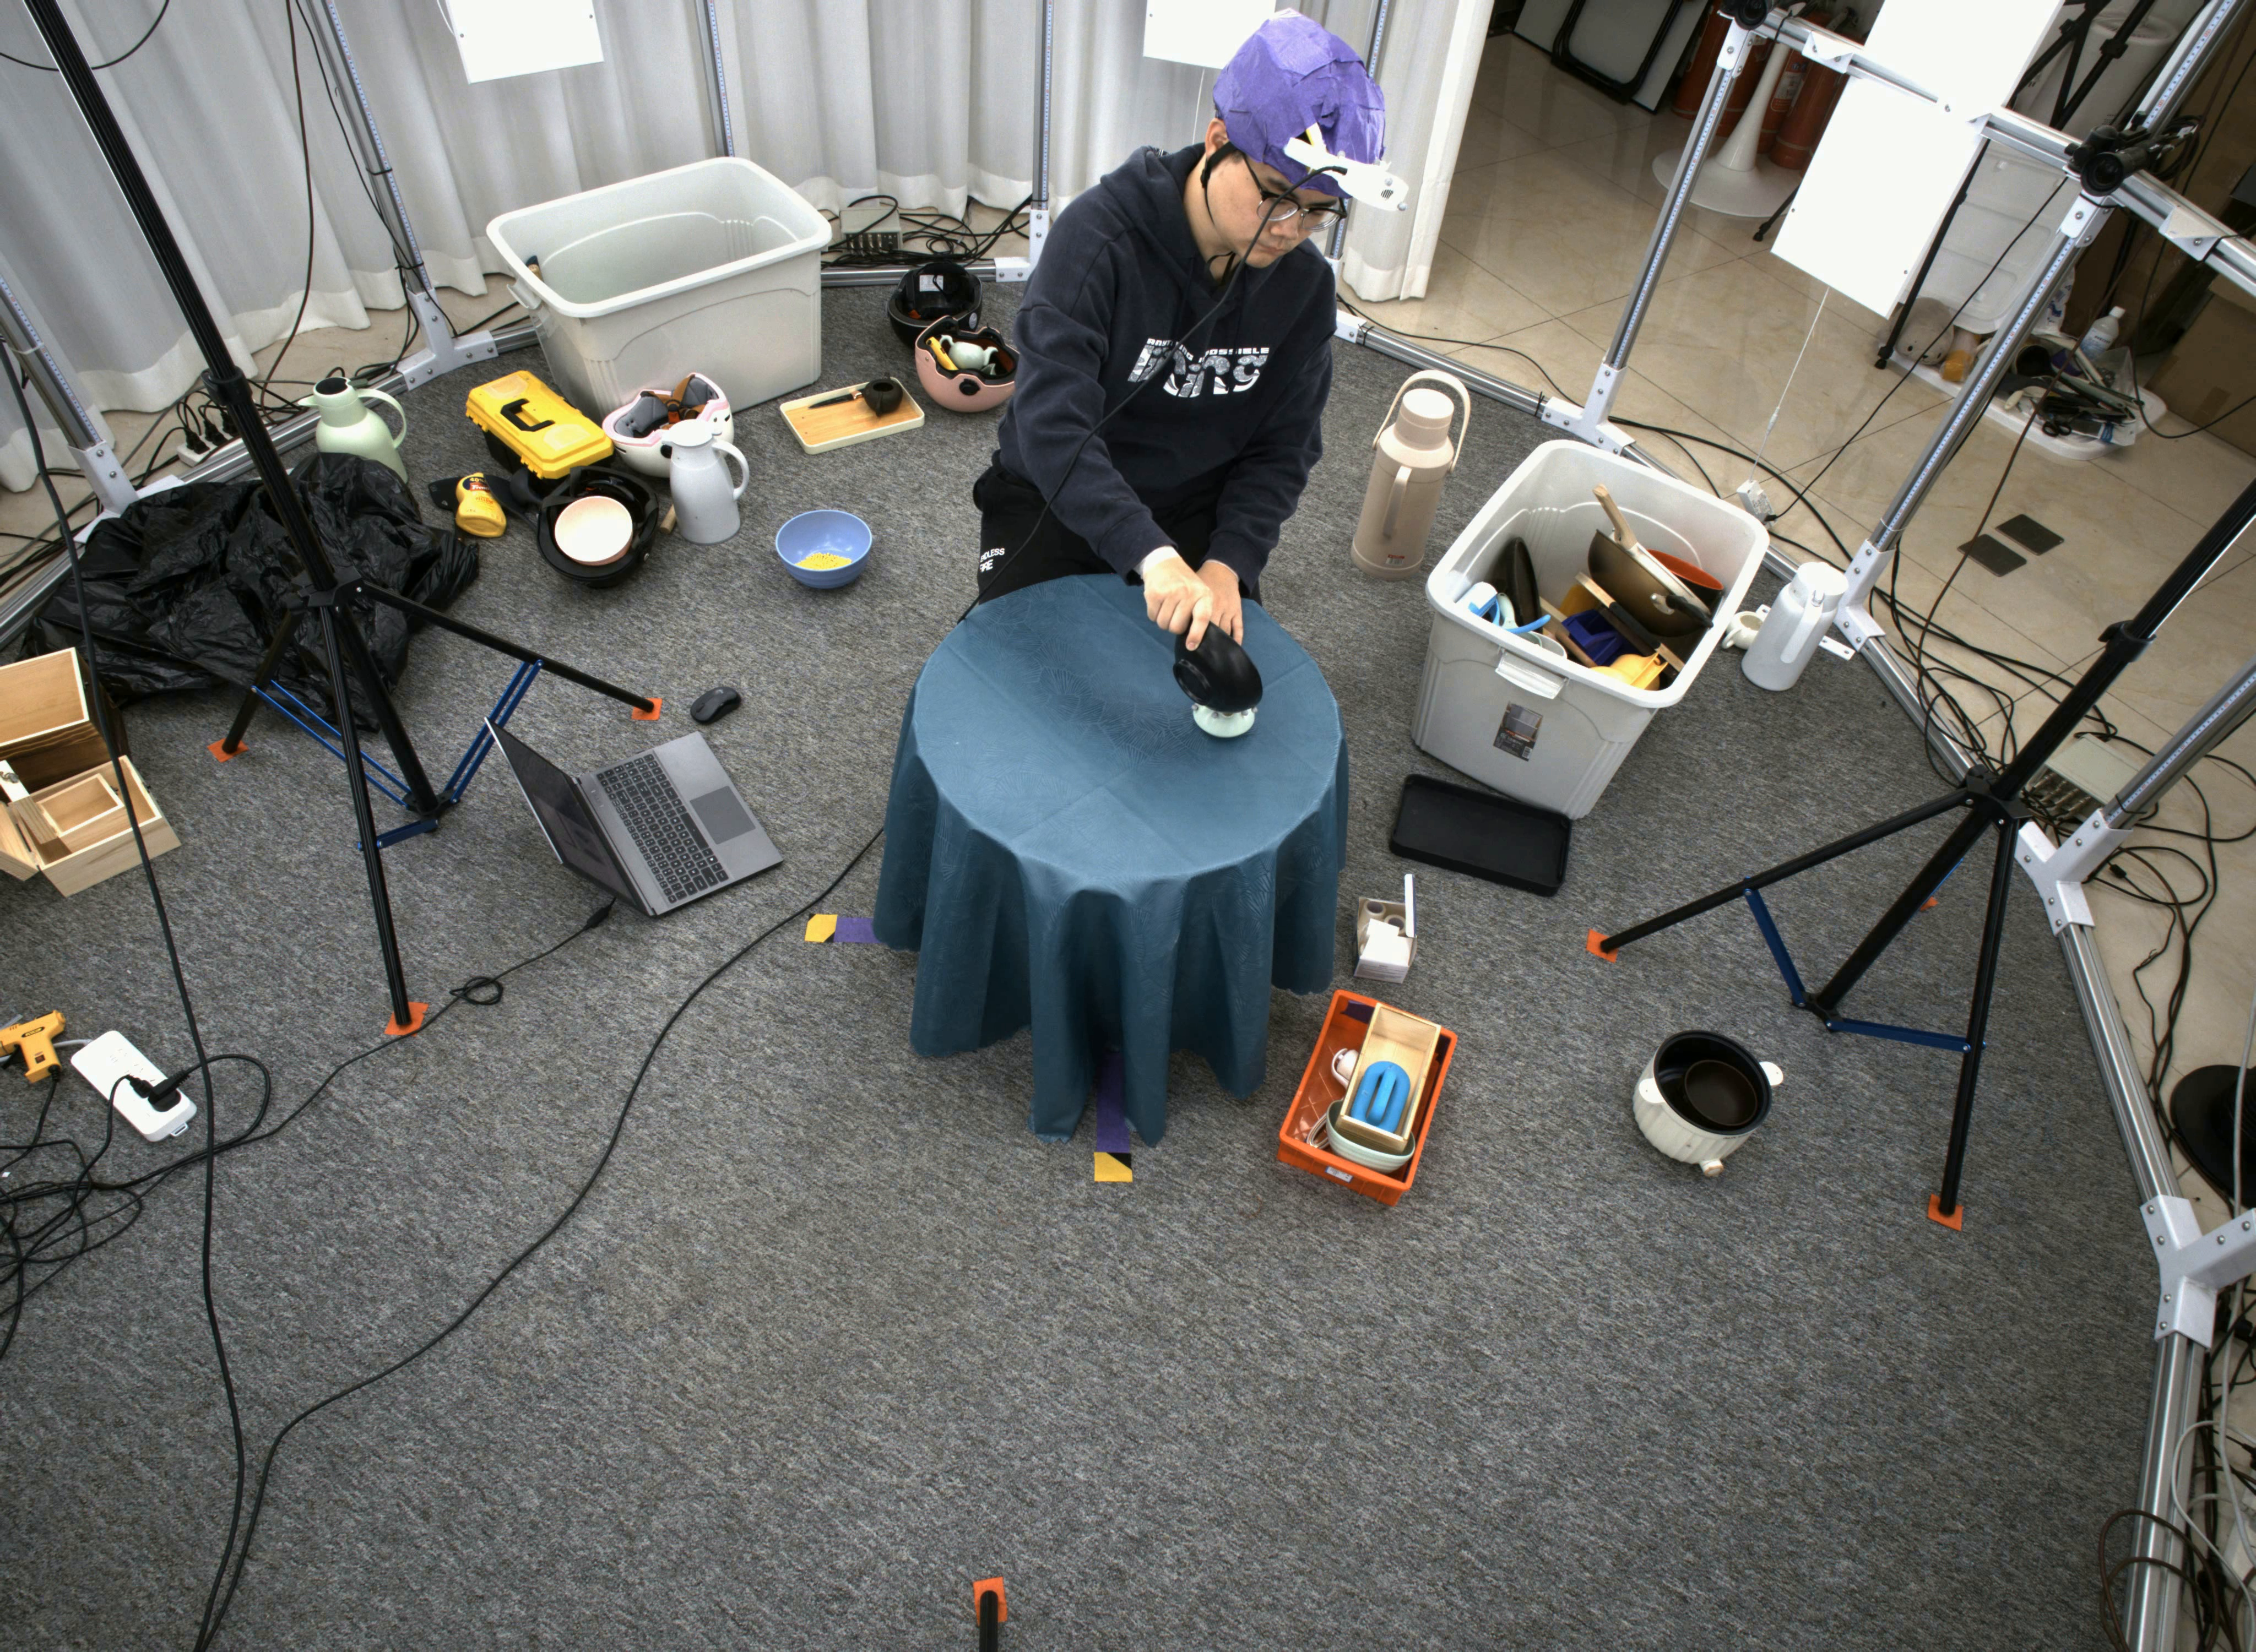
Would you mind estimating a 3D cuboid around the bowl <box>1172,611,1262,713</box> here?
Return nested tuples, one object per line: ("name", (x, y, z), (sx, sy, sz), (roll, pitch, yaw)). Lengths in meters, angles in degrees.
("bowl", (0.104, -0.202, 1.676), (0.067, 0.166, 0.140), (-40, 57, -15))

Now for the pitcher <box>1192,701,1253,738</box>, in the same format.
("pitcher", (0.133, -0.171, 1.788), (0.086, 0.059, 0.111), (2, 48, -4))
